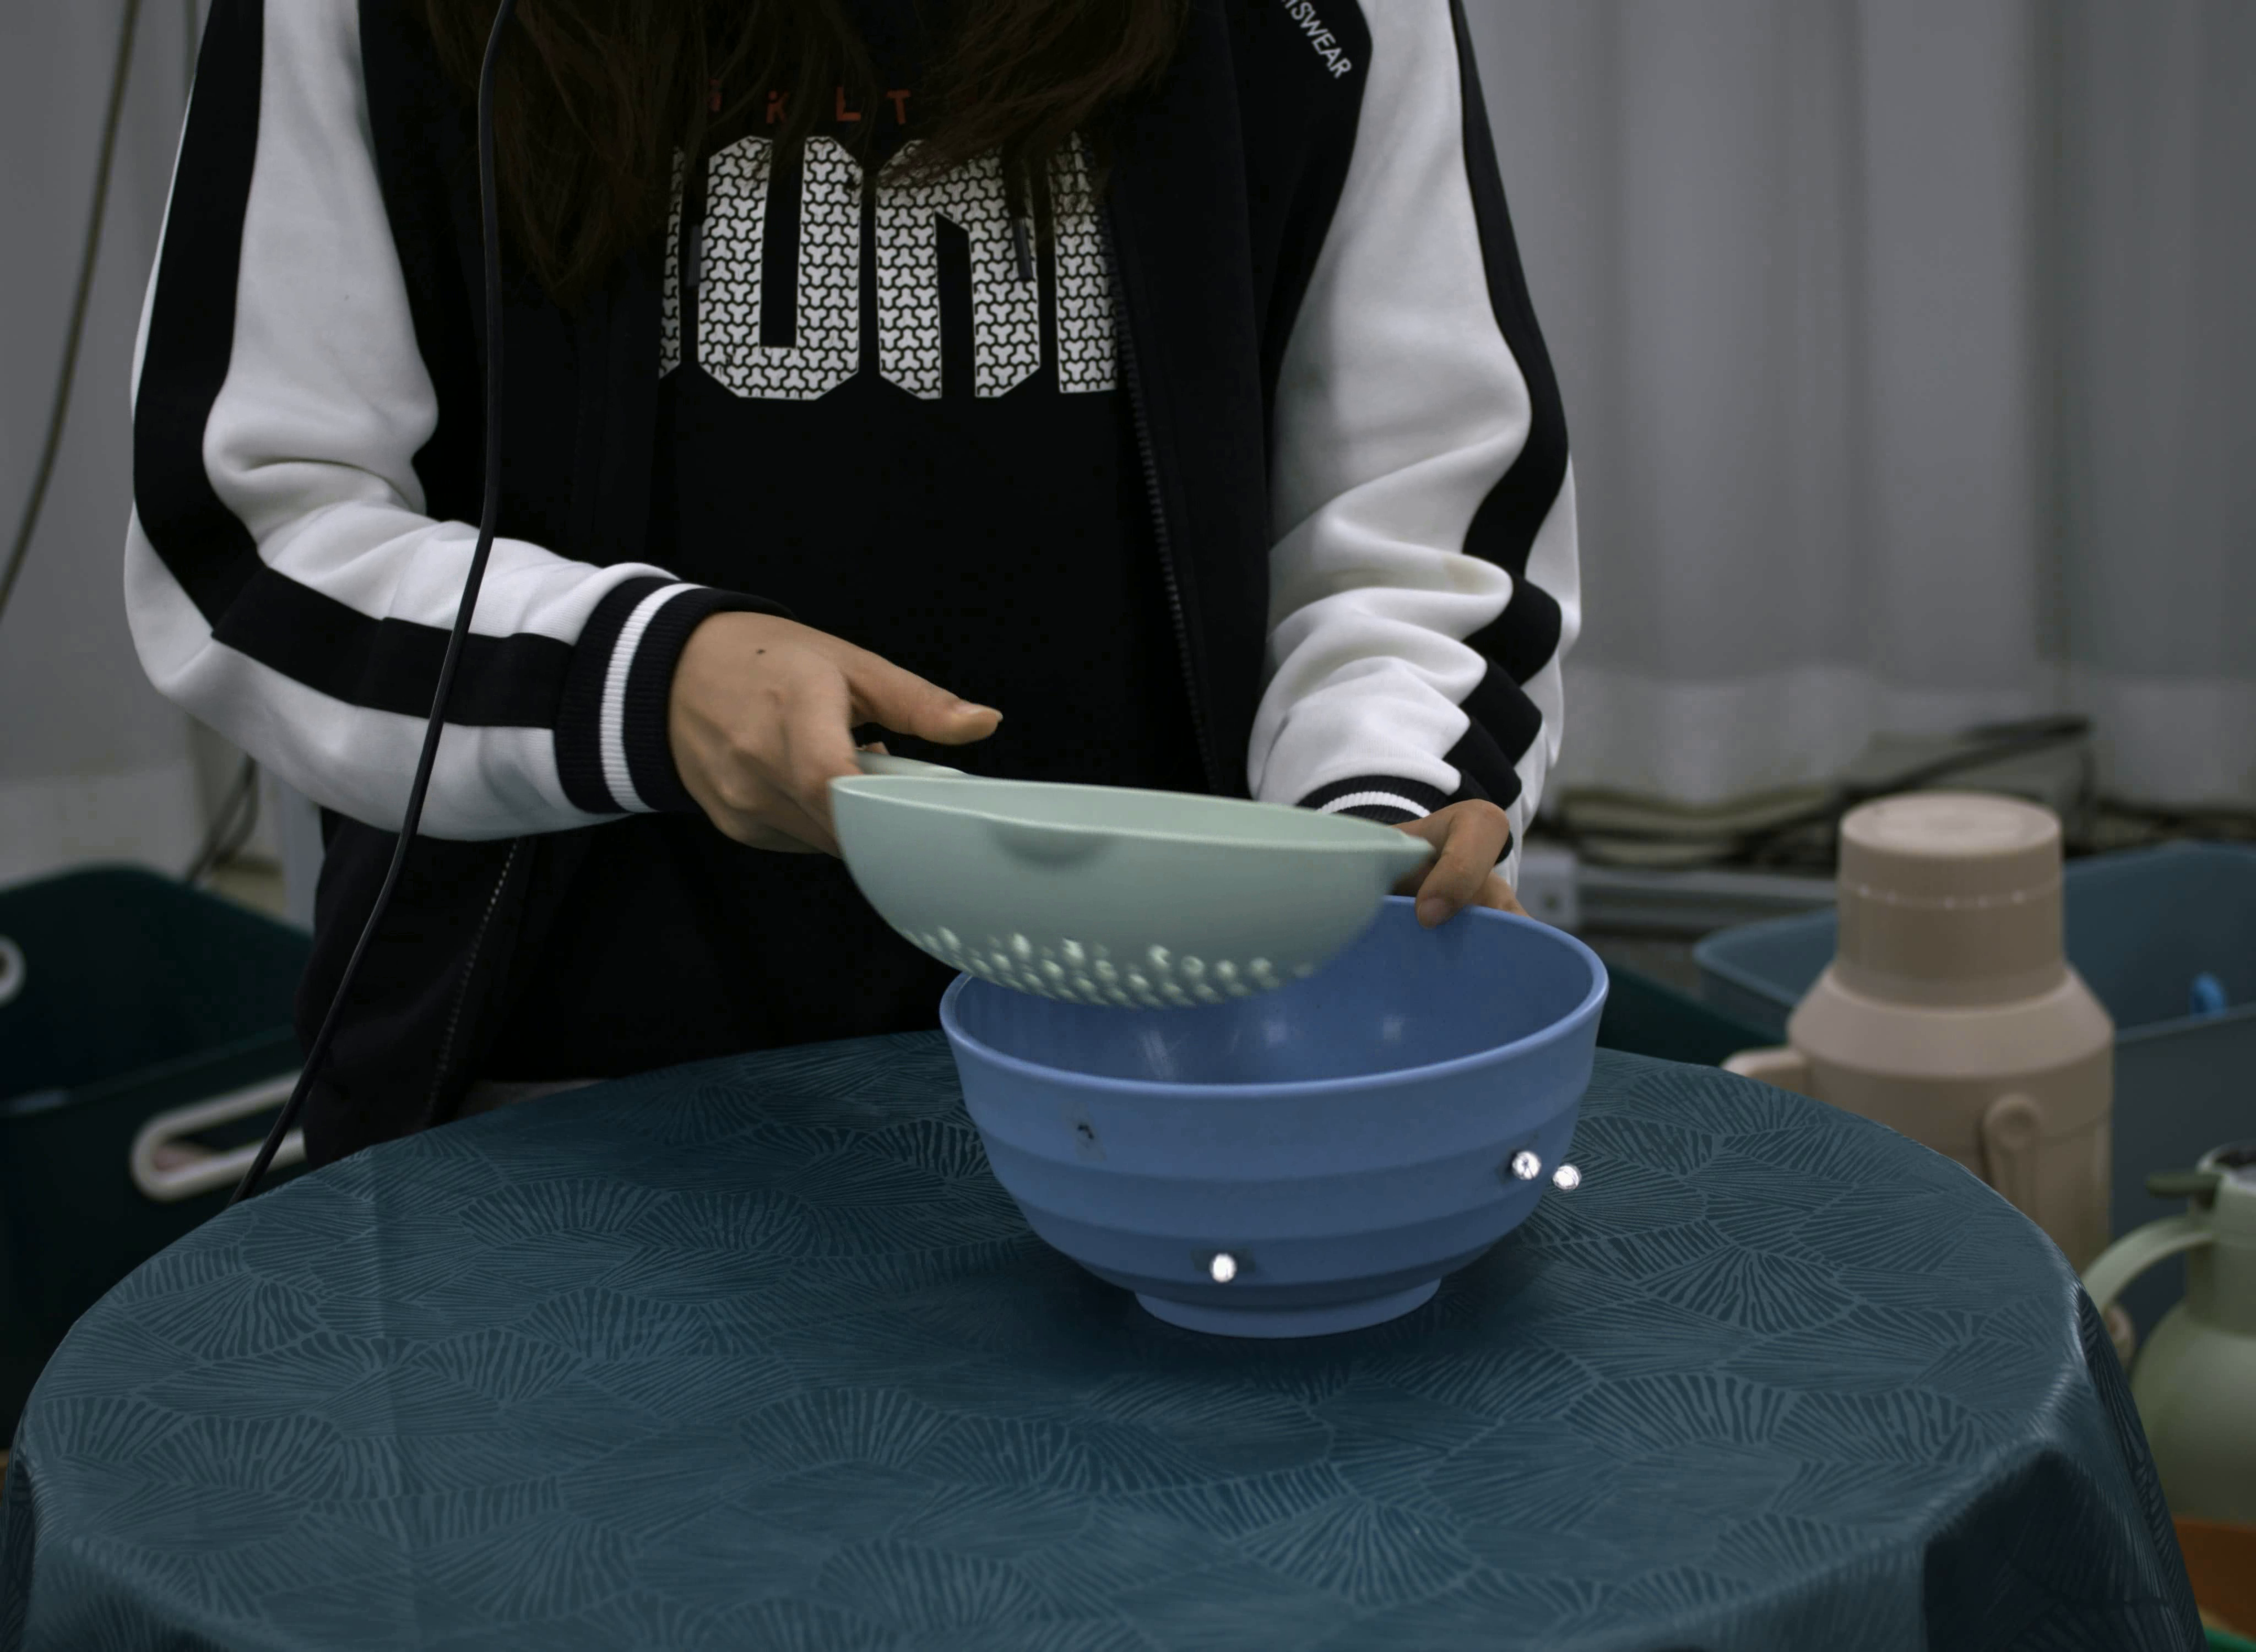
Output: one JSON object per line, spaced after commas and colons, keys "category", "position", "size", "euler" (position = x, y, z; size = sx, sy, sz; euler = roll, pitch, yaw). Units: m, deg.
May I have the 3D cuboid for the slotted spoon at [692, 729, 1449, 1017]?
{"category": "slotted spoon", "position": [-0.049, -0.001, 1.675], "size": [0.168, 0.075, 0.362], "euler": [5, 11, -31]}

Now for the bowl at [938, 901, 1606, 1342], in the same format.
{"category": "bowl", "position": [0.045, 0.092, 1.610], "size": [0.196, 0.095, 0.198], "euler": [-4, 14, 1]}
